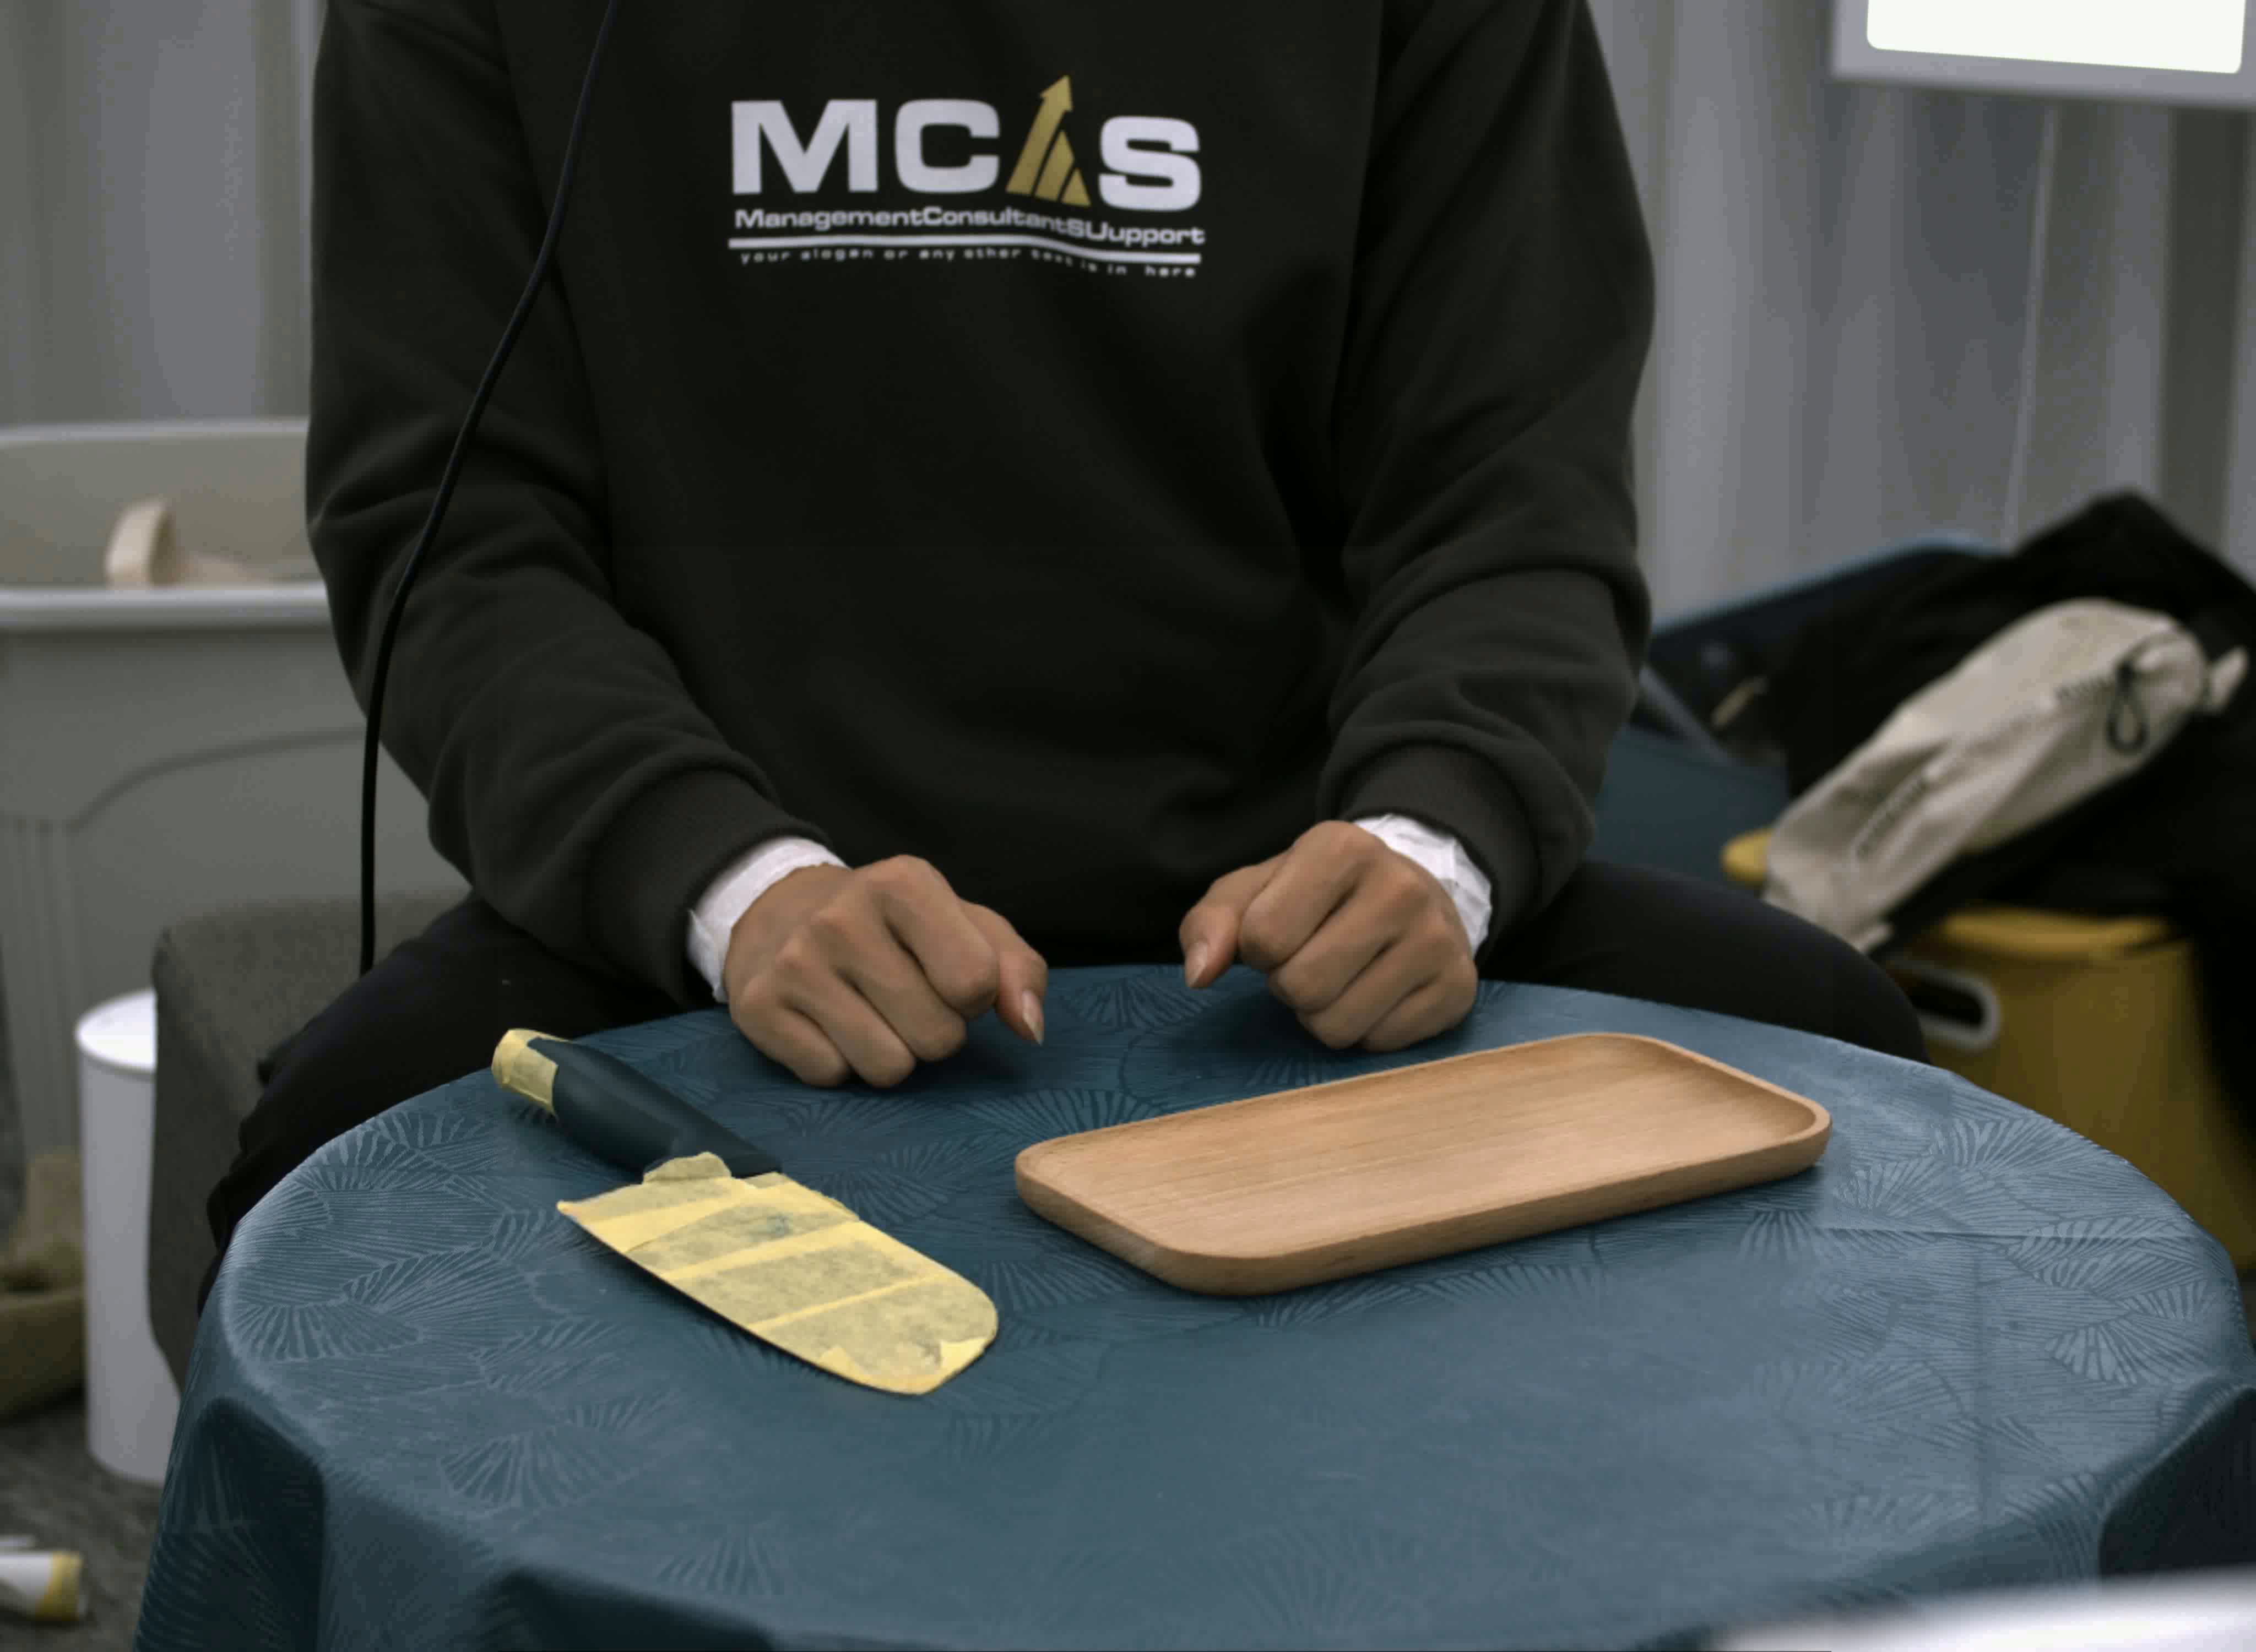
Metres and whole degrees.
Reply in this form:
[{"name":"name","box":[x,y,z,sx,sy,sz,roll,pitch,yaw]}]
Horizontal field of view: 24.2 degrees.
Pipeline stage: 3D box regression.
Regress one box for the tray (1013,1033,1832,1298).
[{"name":"tray","box":[0.093,0.103,1.631,0.252,0.023,0.129,-10,16,-32]}]

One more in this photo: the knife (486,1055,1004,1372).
[{"name":"knife","box":[-0.128,0.117,1.578,0.081,0.027,0.285,-8,18,-33]}]
